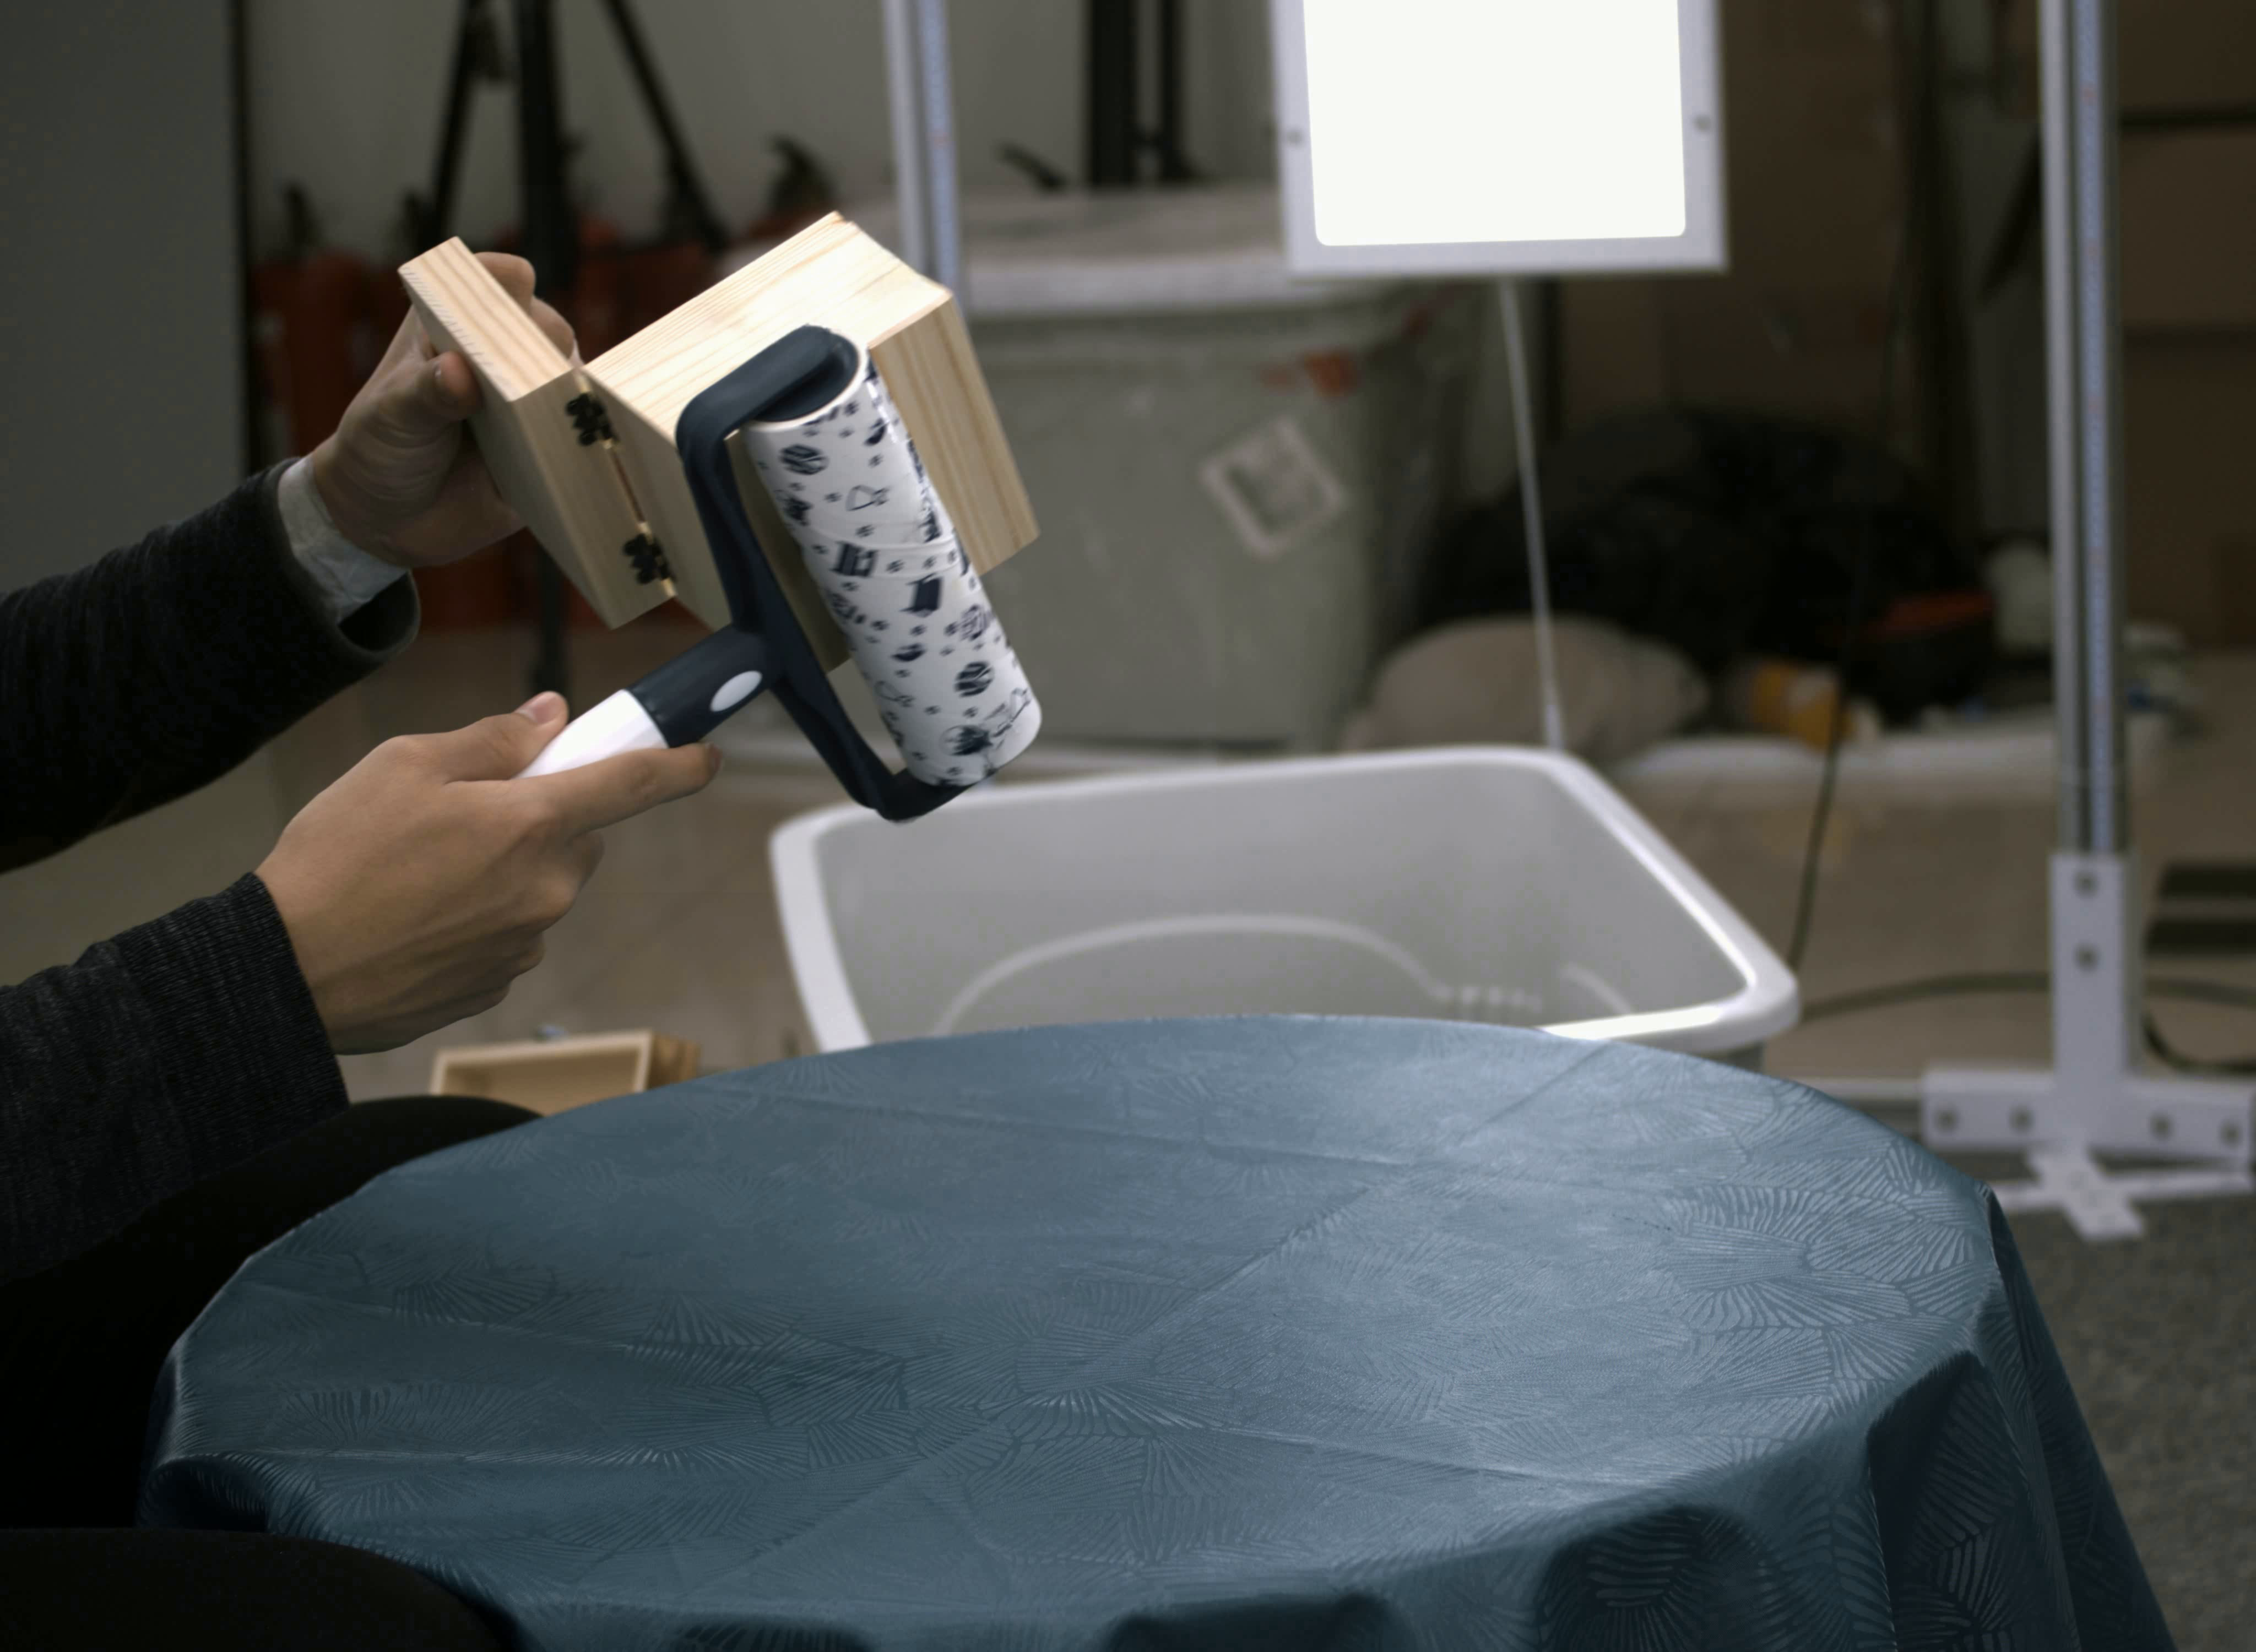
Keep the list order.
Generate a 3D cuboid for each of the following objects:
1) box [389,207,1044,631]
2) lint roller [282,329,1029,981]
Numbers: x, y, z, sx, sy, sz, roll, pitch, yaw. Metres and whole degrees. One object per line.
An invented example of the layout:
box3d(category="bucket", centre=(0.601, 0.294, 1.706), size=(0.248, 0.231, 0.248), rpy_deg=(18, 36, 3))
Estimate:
box3d(category="box", centre=(-0.136, -0.141, 1.825), size=(0.132, 0.102, 0.187), rpy_deg=(-34, 40, -16))
box3d(category="lint roller", centre=(-0.156, -0.024, 1.727), size=(0.245, 0.175, 0.051), rpy_deg=(-37, 42, -10))
